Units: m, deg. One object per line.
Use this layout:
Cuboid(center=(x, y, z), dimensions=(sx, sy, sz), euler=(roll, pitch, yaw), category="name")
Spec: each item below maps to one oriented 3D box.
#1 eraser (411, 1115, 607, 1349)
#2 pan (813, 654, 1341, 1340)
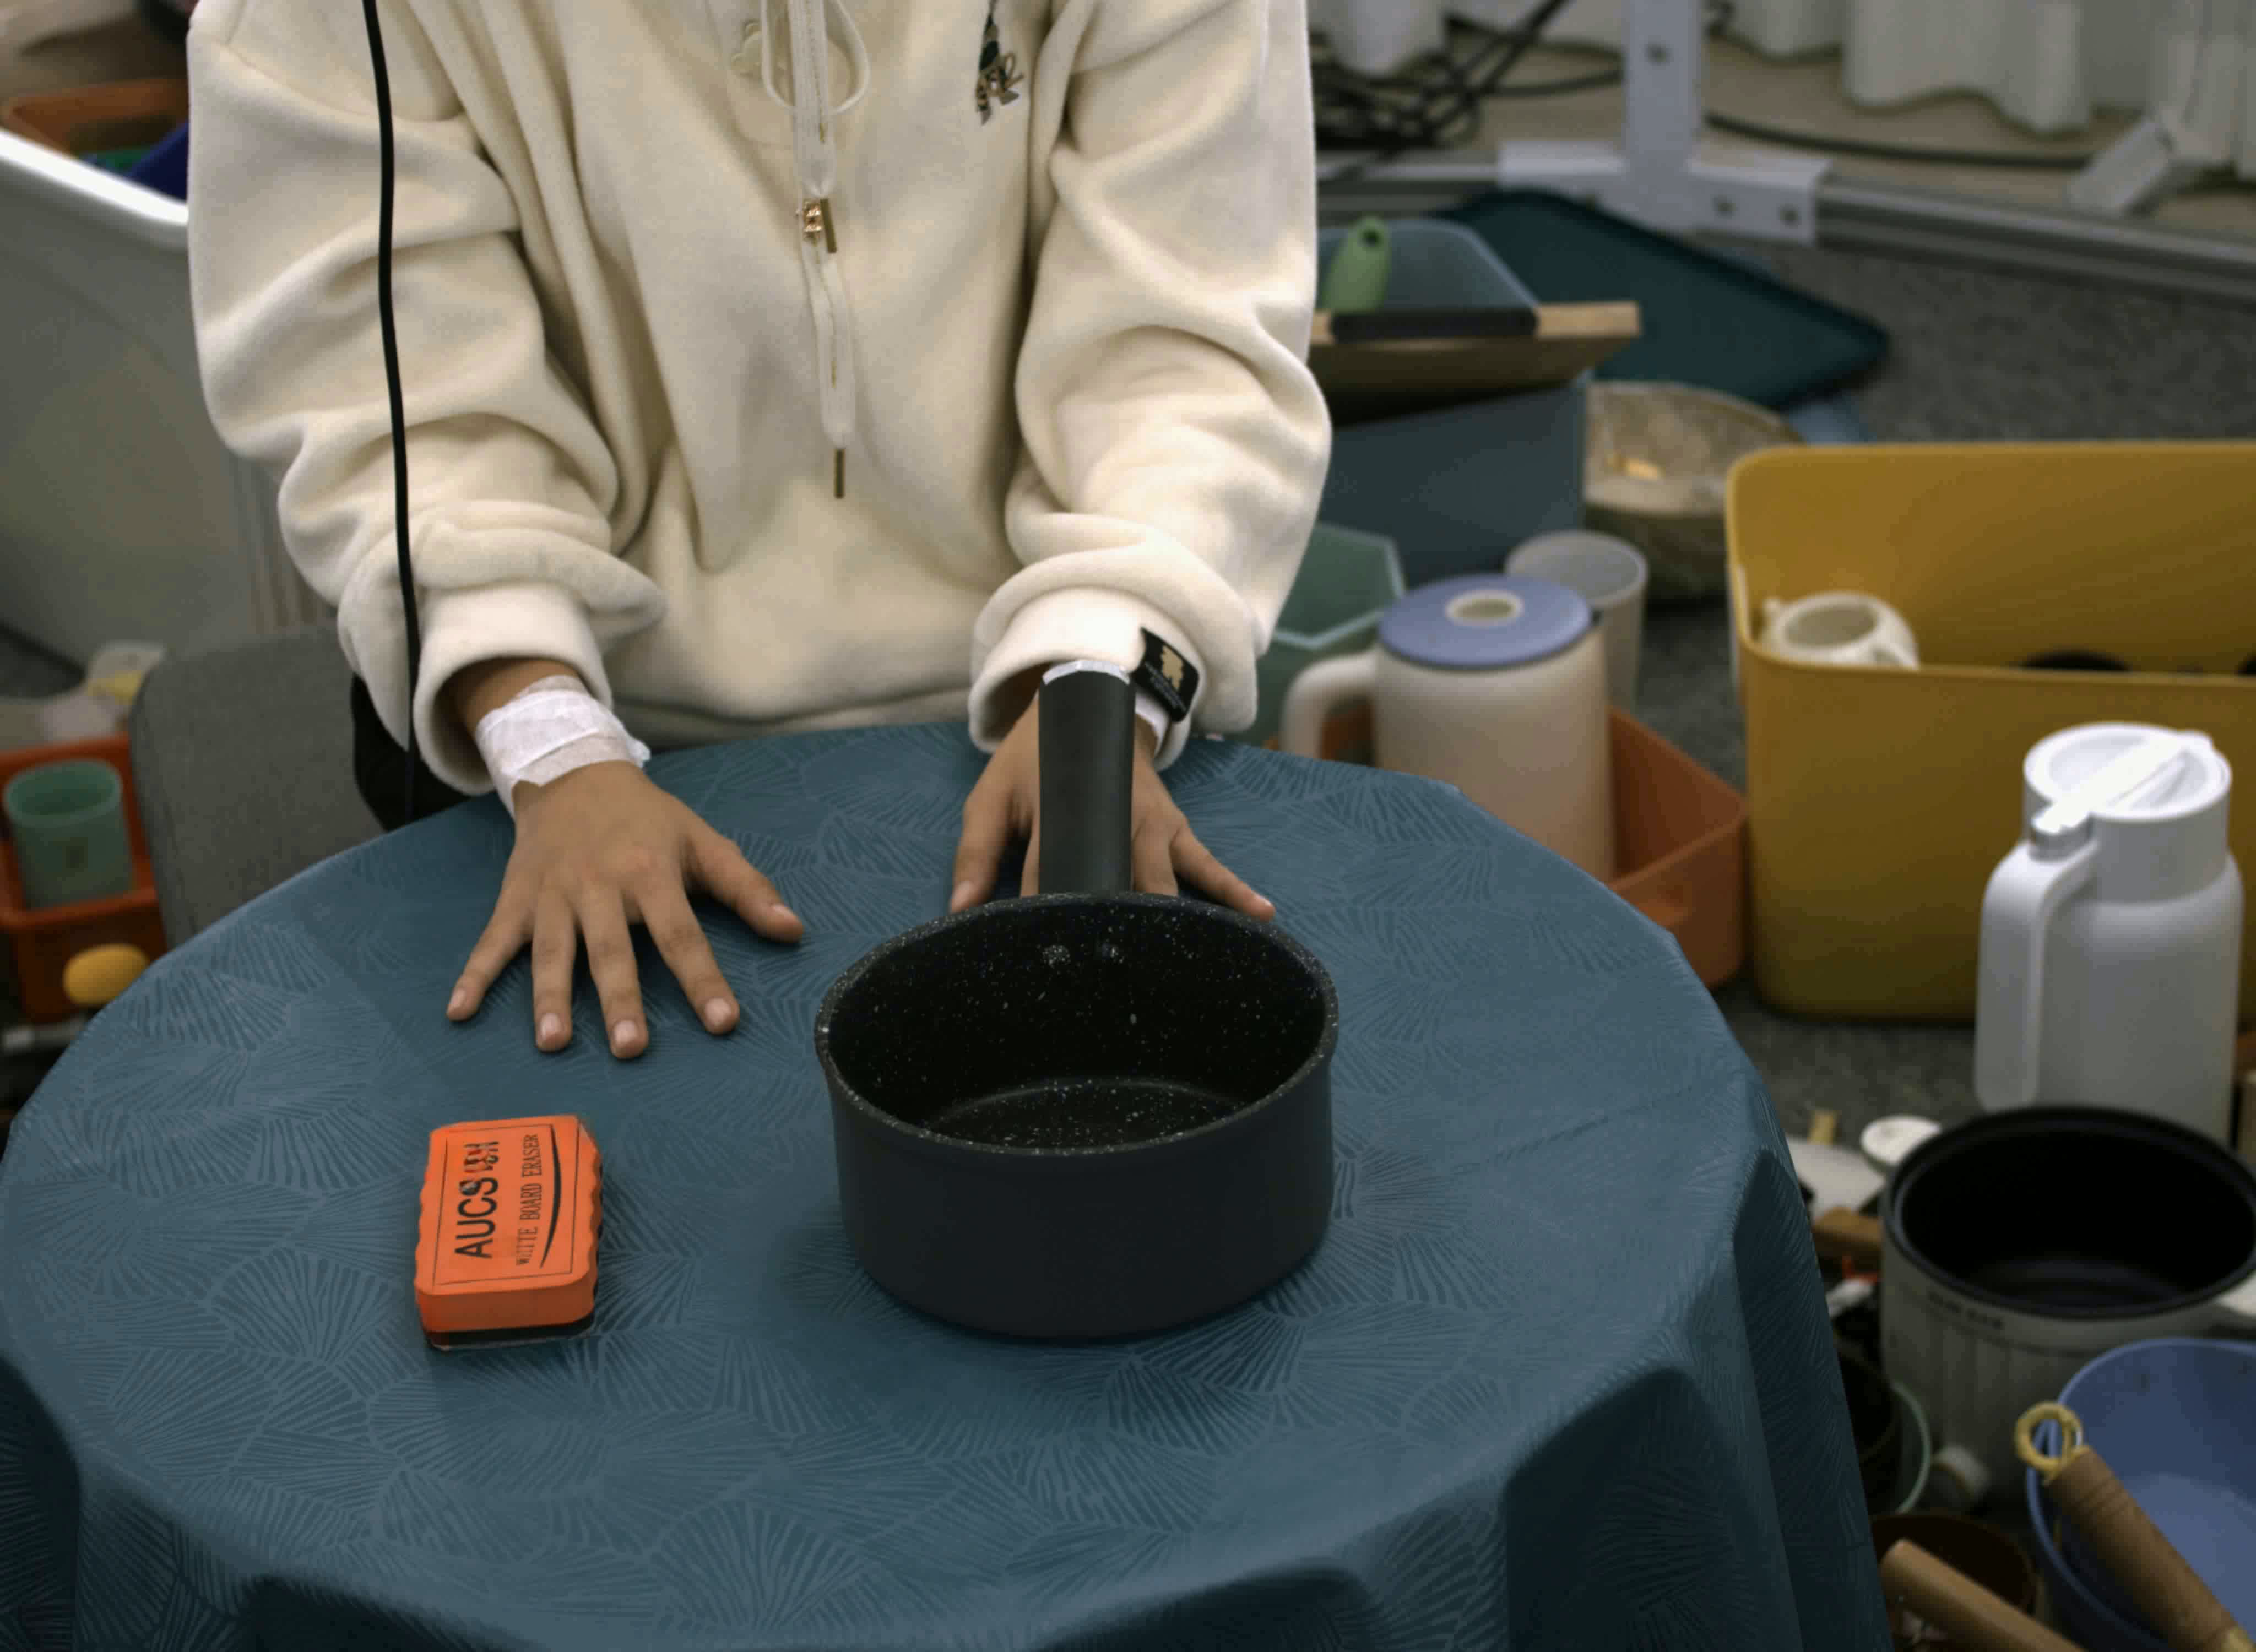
Cuboid(center=(-0.202, 0.132, 1.835), dimensions=(0.059, 0.022, 0.109), euler=(-3, 27, -1), category="eraser")
Cuboid(center=(-0.011, 0.054, 1.902), dimensions=(0.171, 0.085, 0.334), euler=(-1, 29, 4), category="pan")
